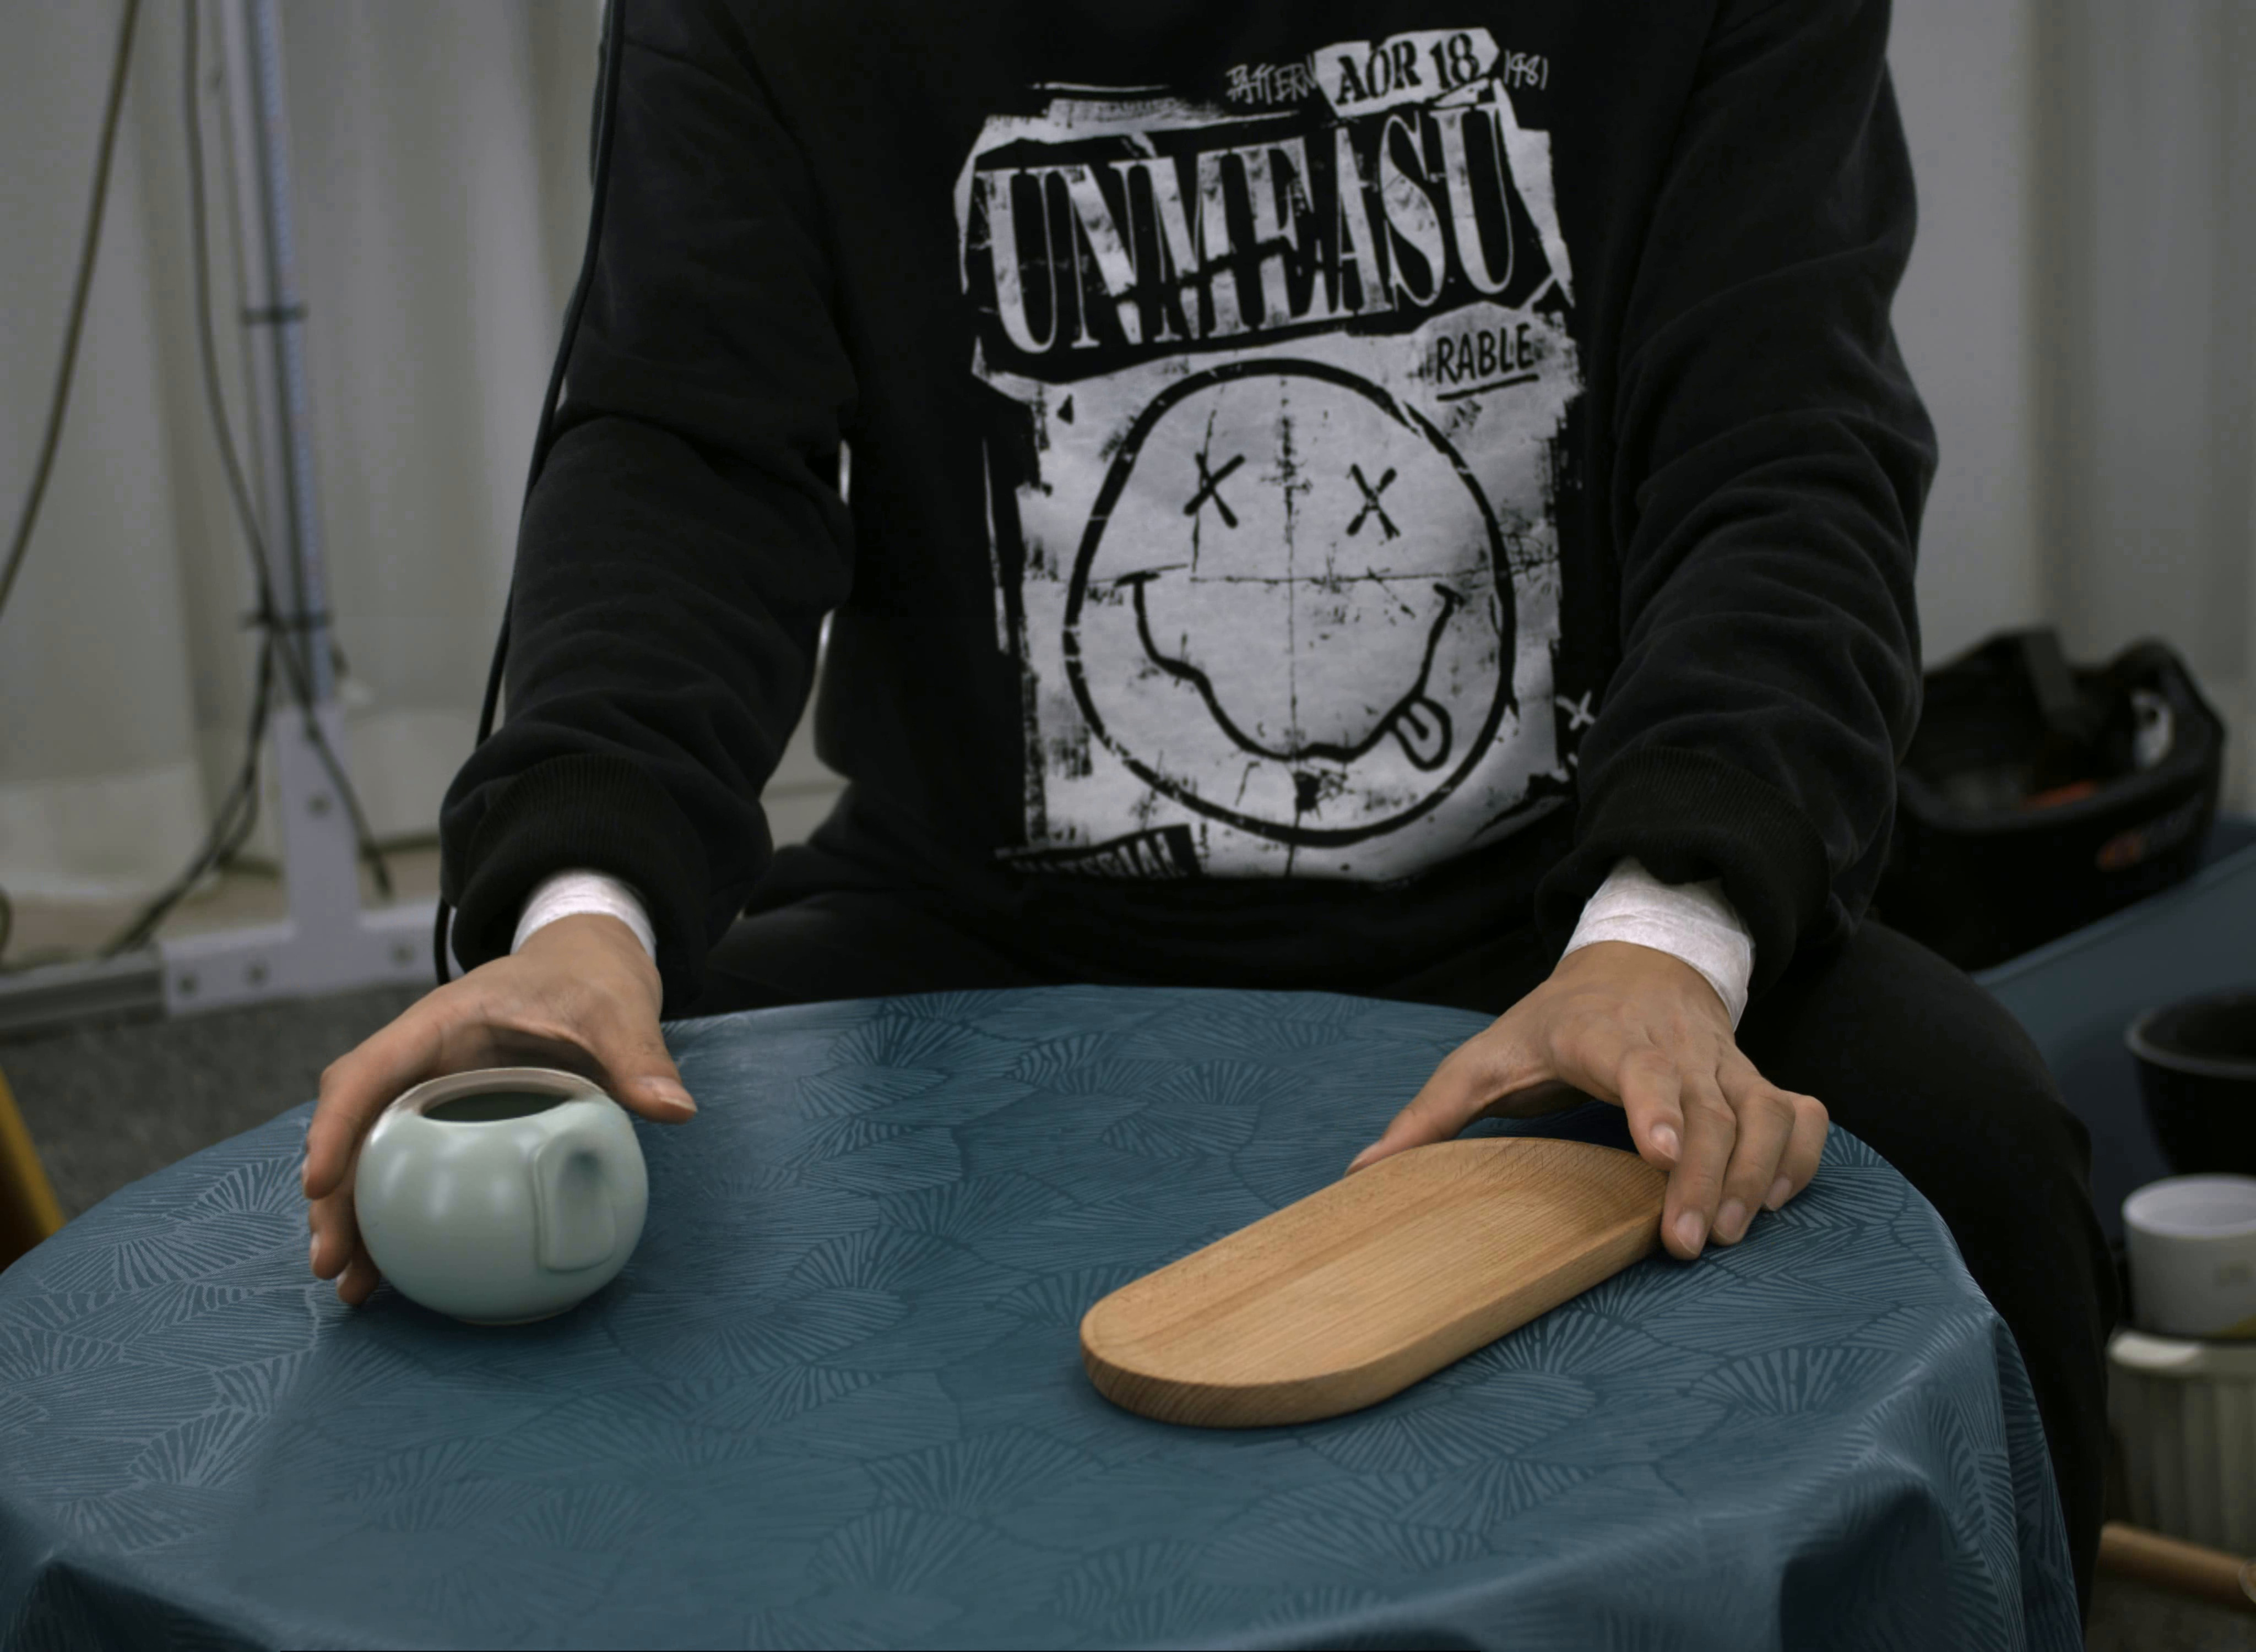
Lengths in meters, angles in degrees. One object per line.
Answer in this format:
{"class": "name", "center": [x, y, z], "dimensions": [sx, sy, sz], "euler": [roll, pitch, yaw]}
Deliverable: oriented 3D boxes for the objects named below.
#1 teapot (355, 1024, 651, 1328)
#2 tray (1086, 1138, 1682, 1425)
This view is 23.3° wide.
{"class": "teapot", "center": [-0.186, 0.109, 1.634], "dimensions": [0.088, 0.074, 0.145], "euler": [-10, 18, -31]}
{"class": "tray", "center": [0.078, 0.132, 1.605], "dimensions": [0.102, 0.020, 0.231], "euler": [10, 18, 36]}
